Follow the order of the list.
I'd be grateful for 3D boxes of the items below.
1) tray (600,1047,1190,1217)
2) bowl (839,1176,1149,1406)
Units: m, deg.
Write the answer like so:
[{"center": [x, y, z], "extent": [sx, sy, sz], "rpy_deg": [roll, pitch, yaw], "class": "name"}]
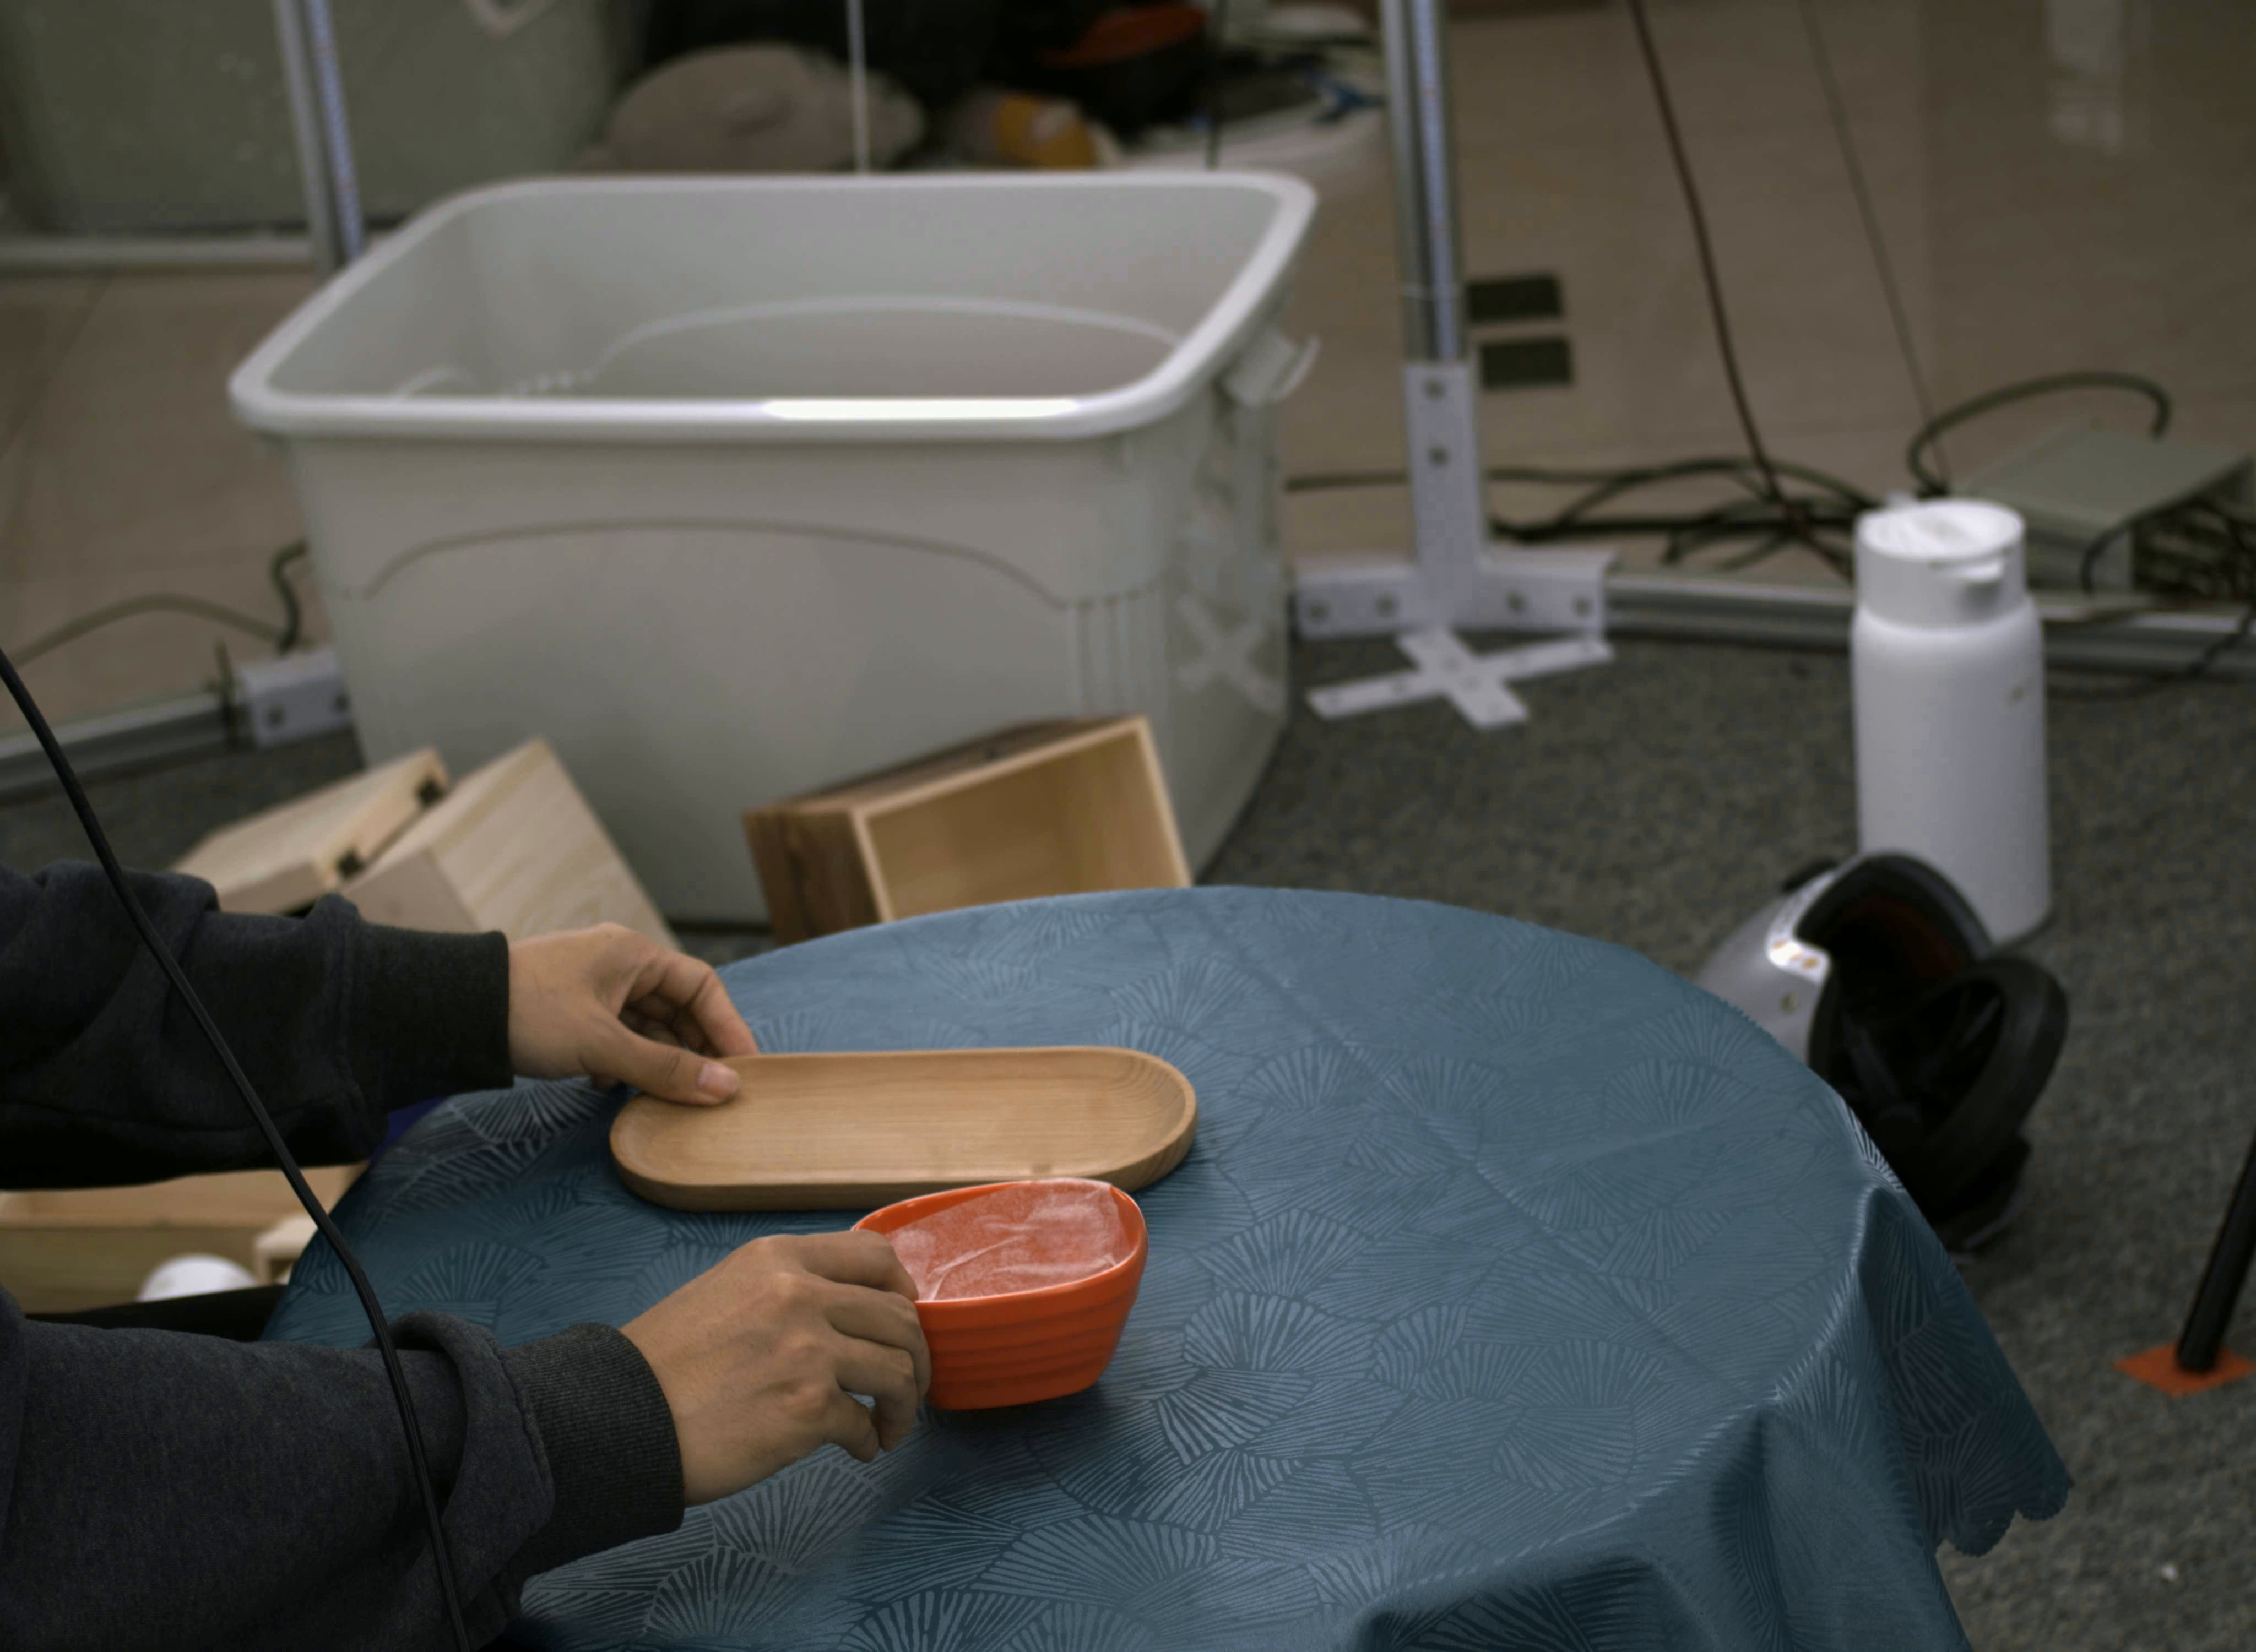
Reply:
[{"center": [-0.090, 0.119, 2.190], "extent": [0.231, 0.020, 0.100], "rpy_deg": [-3, 27, 9], "class": "tray"}, {"center": [-0.046, 0.168, 2.010], "extent": [0.119, 0.052, 0.117], "rpy_deg": [-4, 19, 2], "class": "bowl"}]
